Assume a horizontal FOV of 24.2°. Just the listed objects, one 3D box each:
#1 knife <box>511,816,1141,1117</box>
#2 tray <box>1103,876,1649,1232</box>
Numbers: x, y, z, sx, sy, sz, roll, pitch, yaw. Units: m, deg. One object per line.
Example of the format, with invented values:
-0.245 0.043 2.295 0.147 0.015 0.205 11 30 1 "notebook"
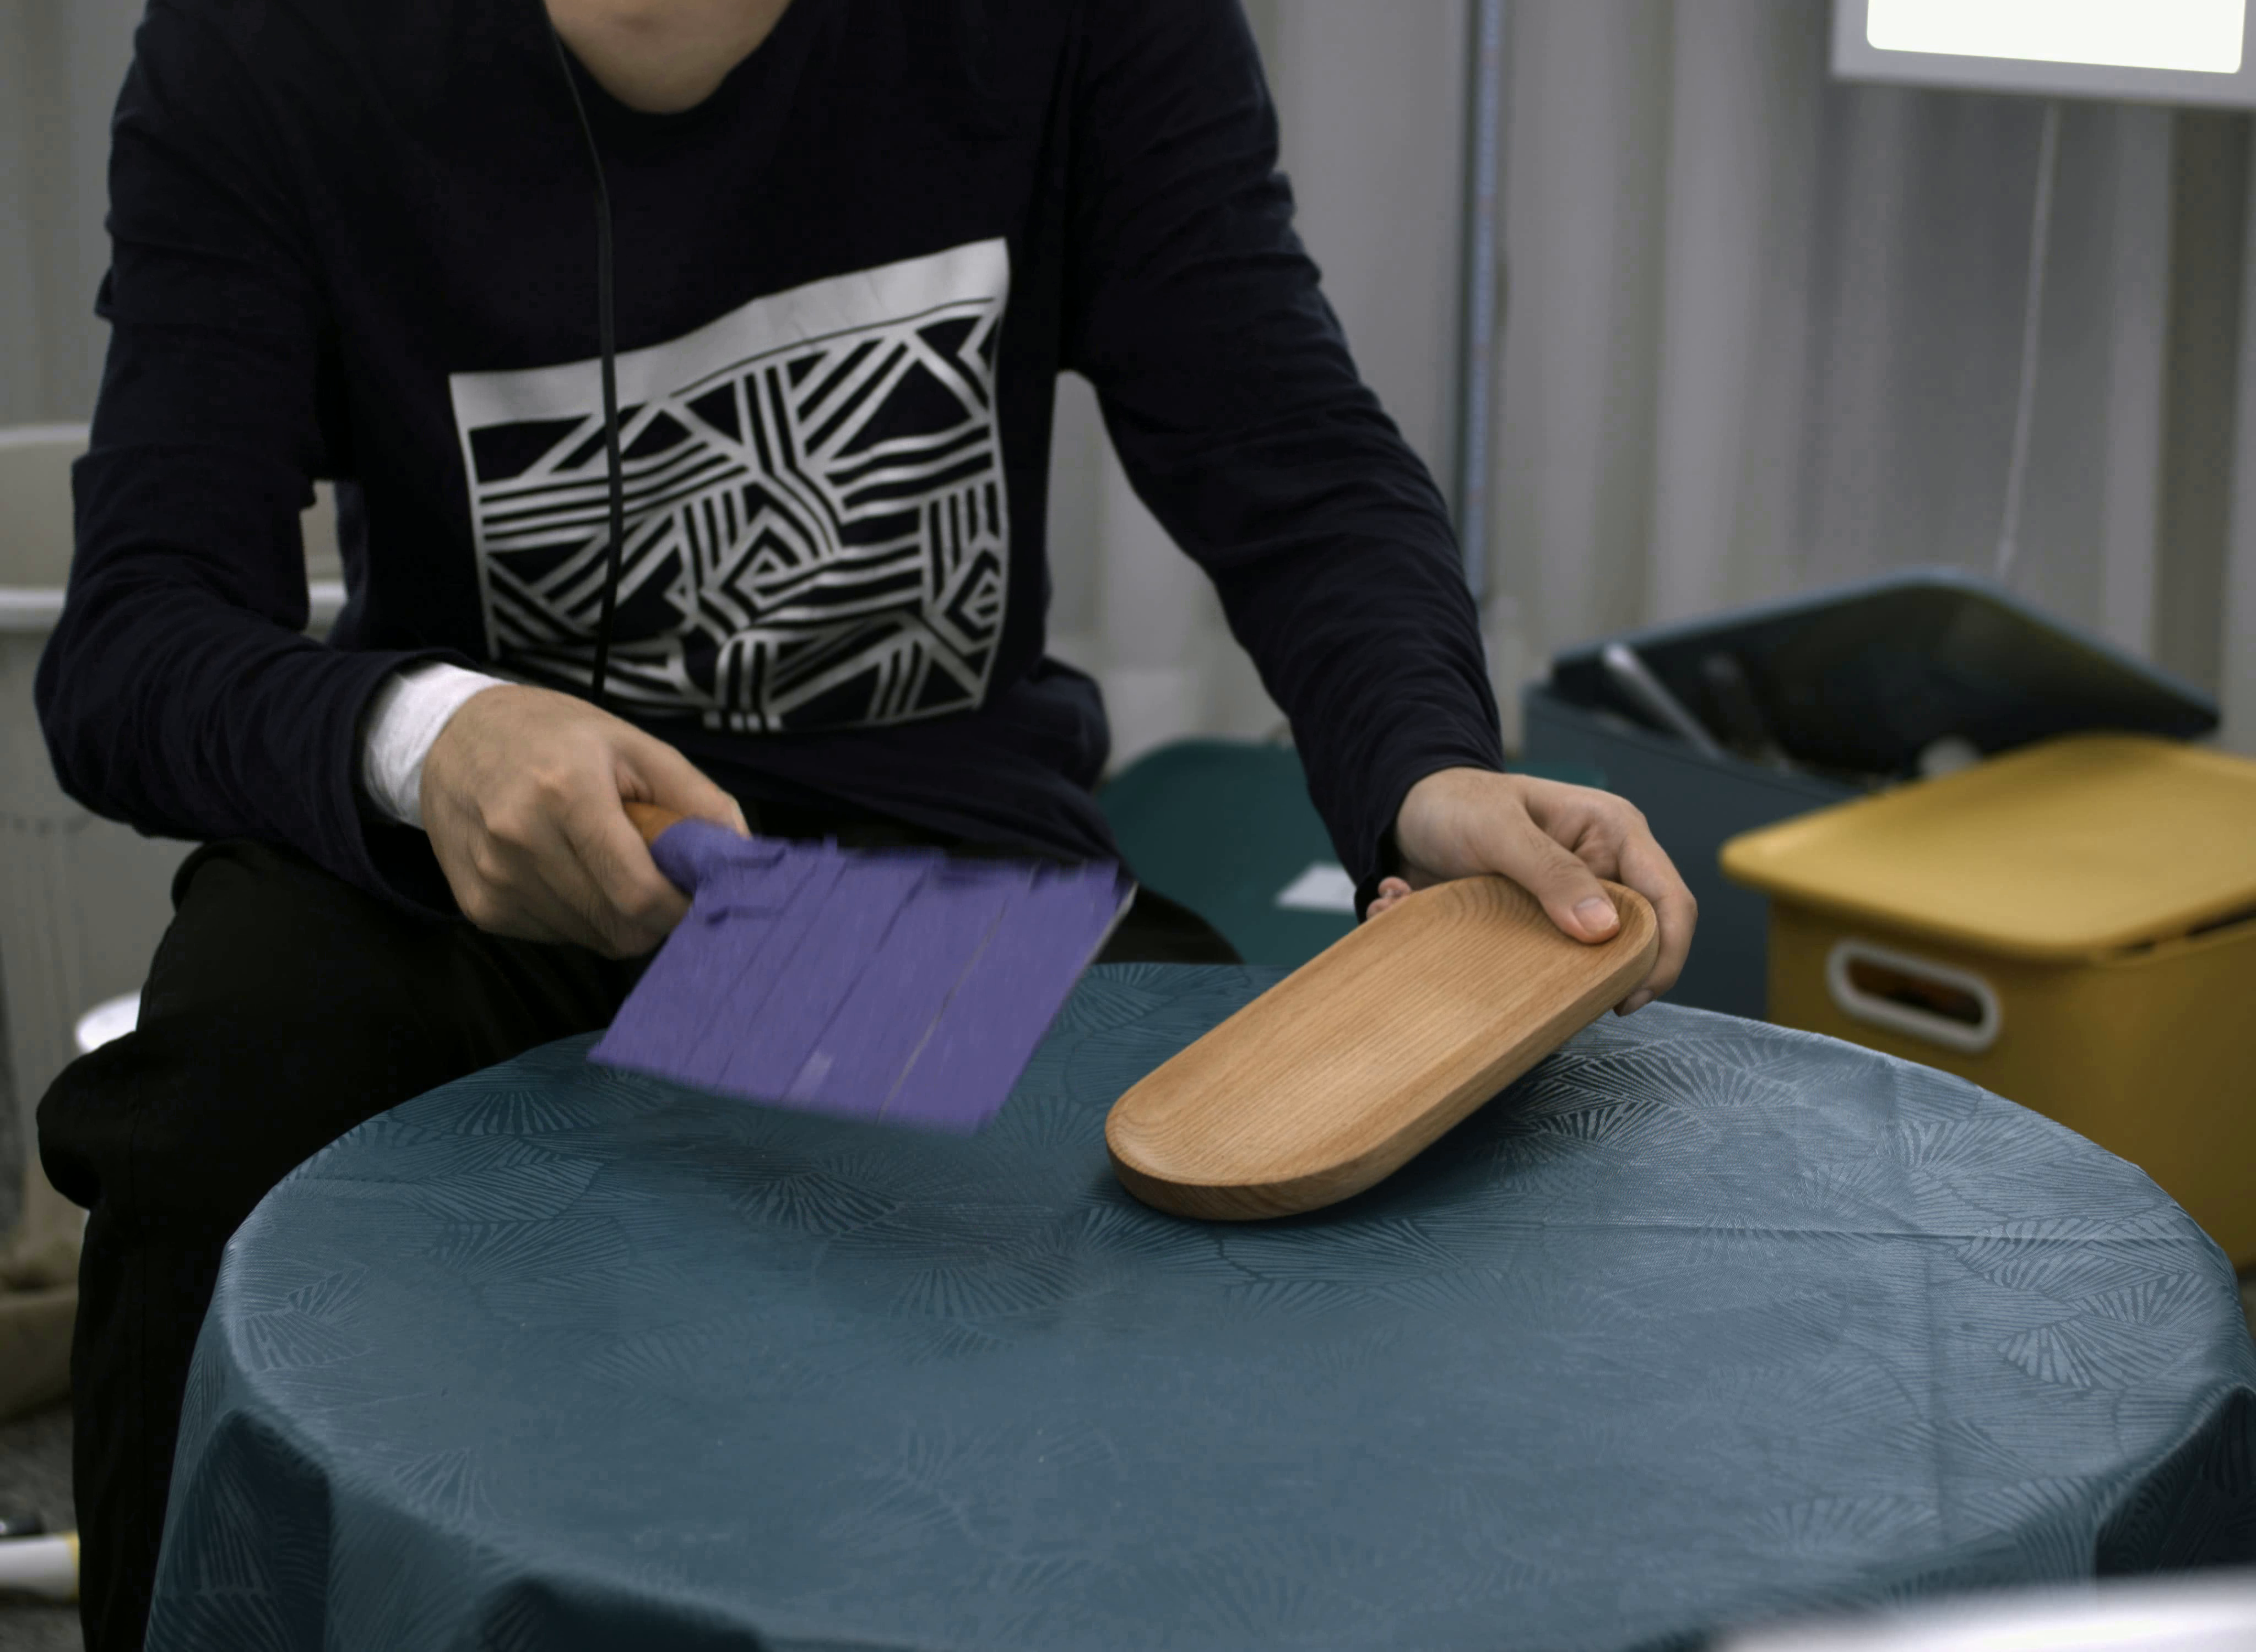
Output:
-0.117 0.042 1.631 0.311 0.032 0.104 4 55 53 "knife"
0.081 0.070 1.674 0.100 0.020 0.231 8 30 37 "tray"
